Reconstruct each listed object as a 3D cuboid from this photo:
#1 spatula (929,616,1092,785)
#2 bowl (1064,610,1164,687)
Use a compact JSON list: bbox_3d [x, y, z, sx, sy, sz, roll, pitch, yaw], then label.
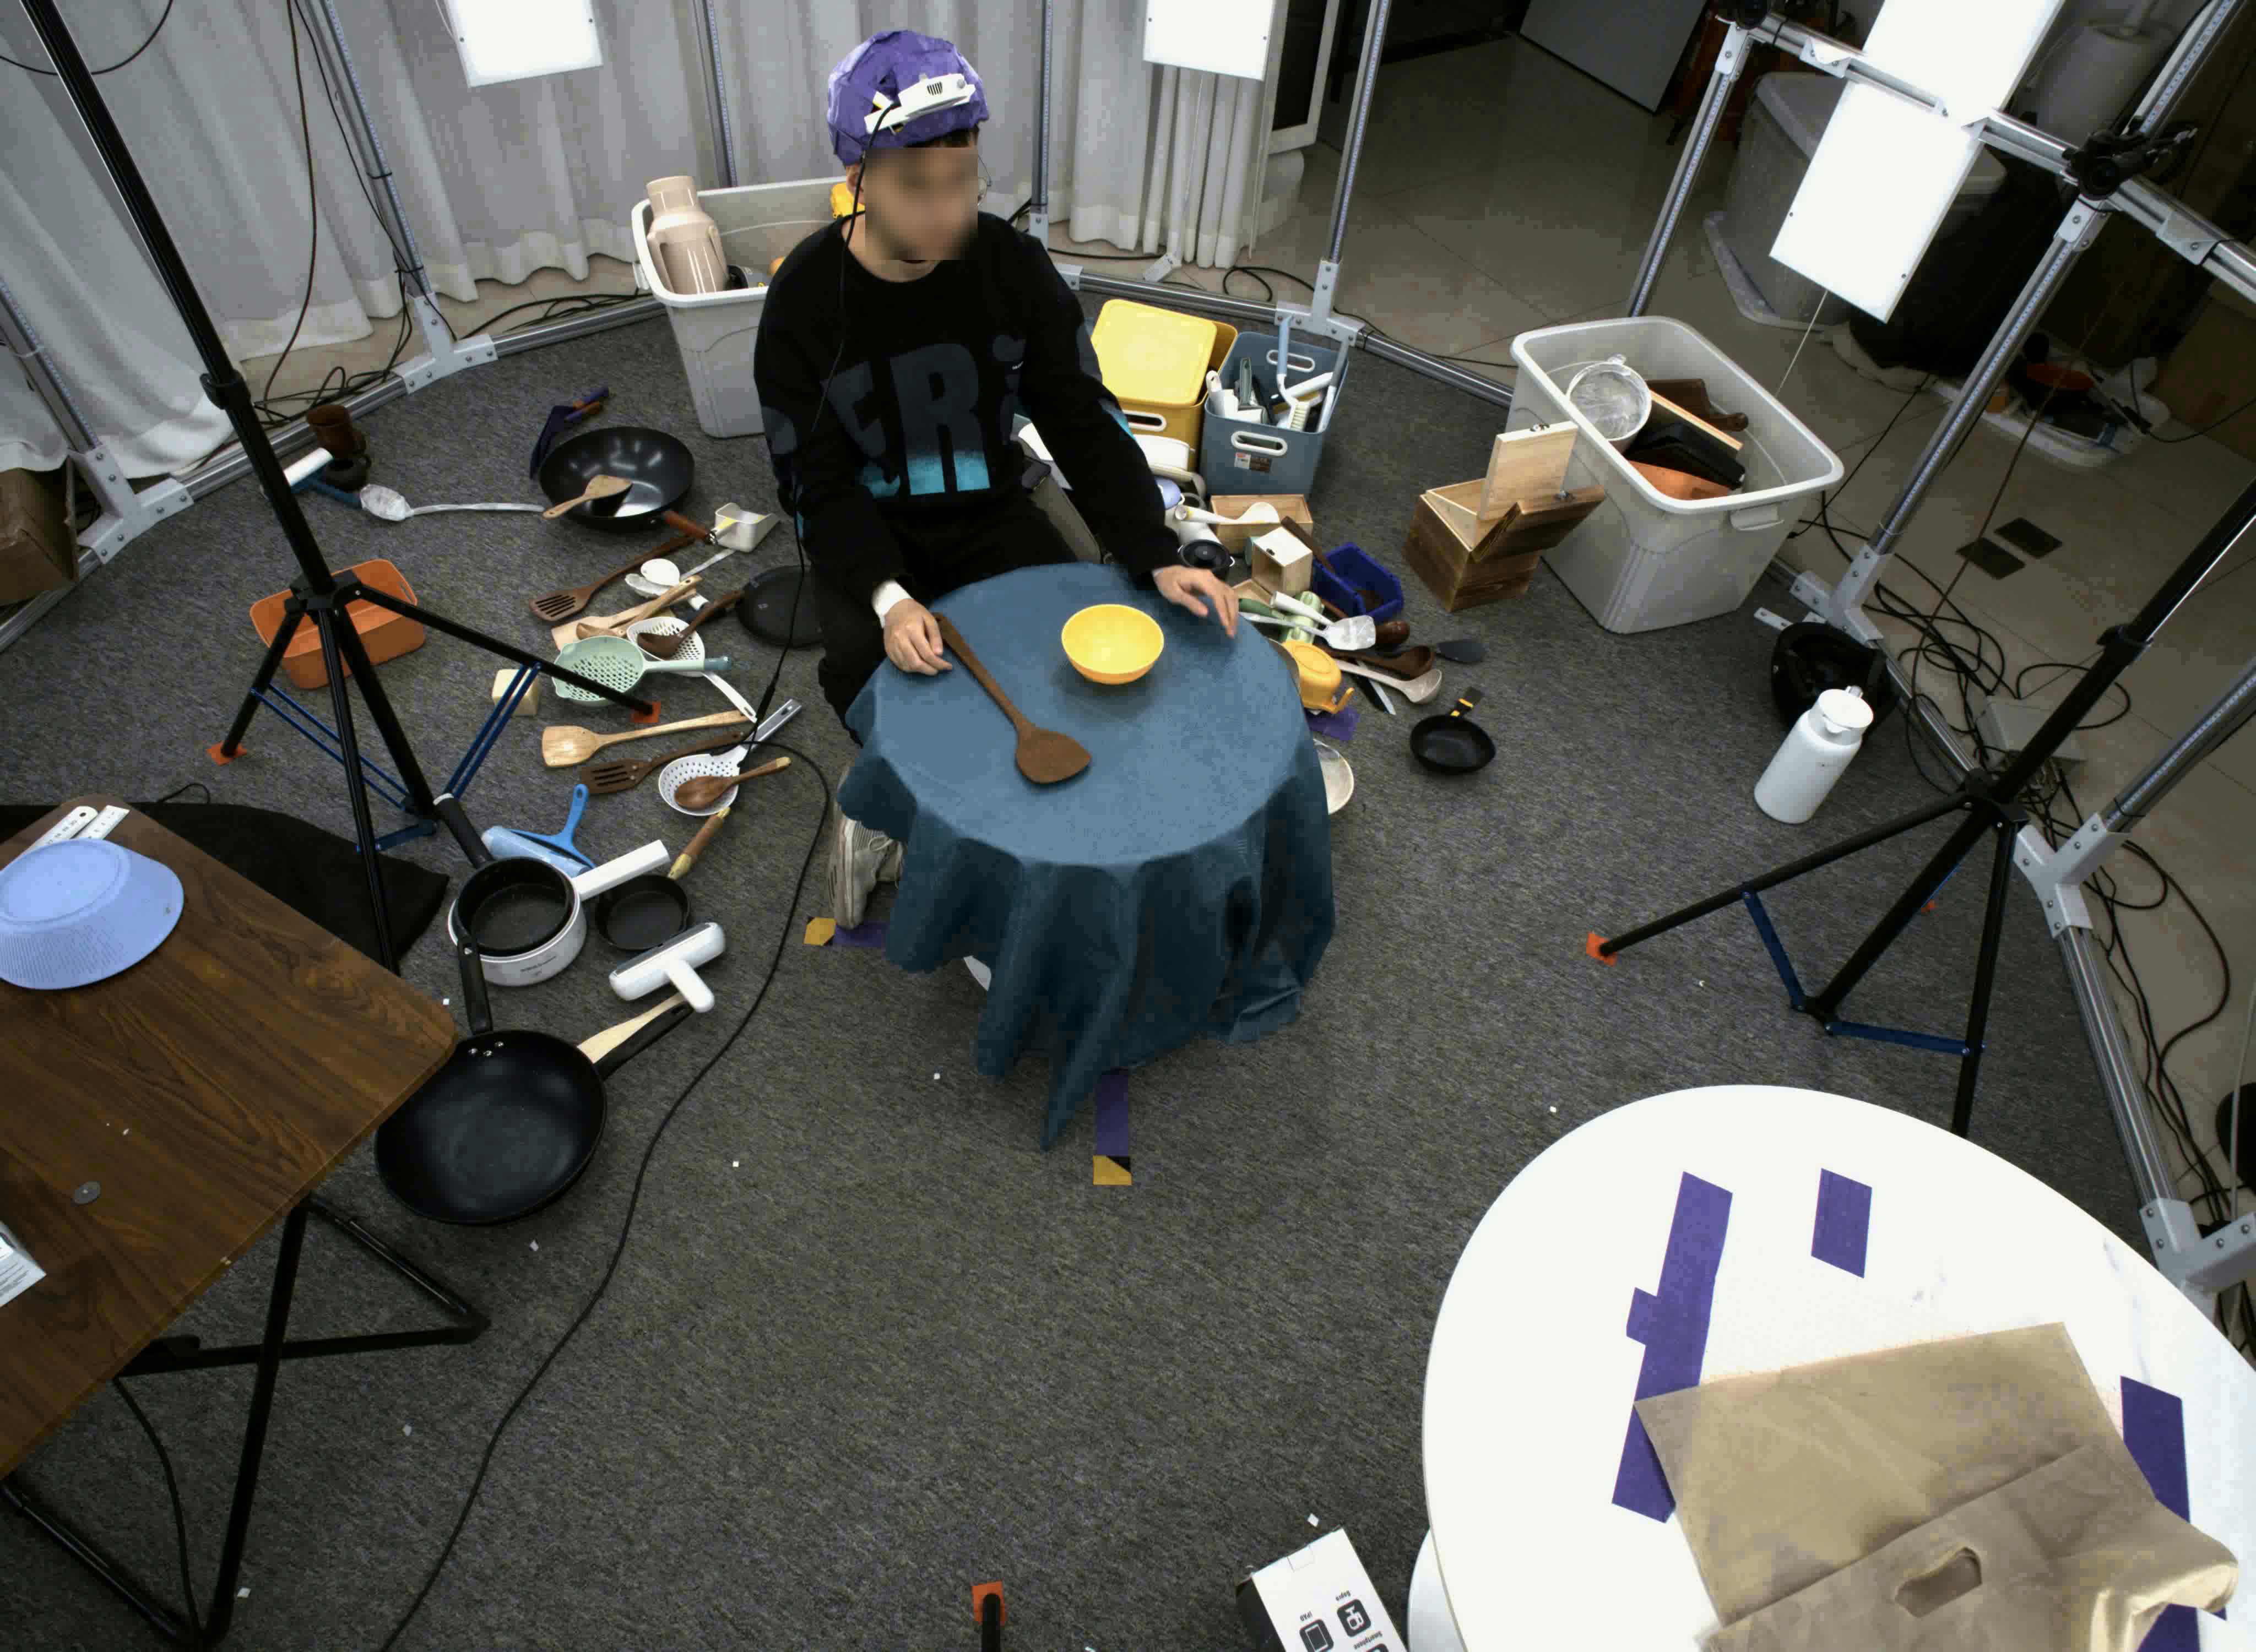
[{"bbox_3d":[-0.185,-0.189,1.828,0.096,0.015,0.394,-24,54,-23],"label":"spatula"},{"bbox_3d":[-0.022,-0.246,1.862,0.145,0.058,0.149,2,47,-2],"label":"bowl"}]
